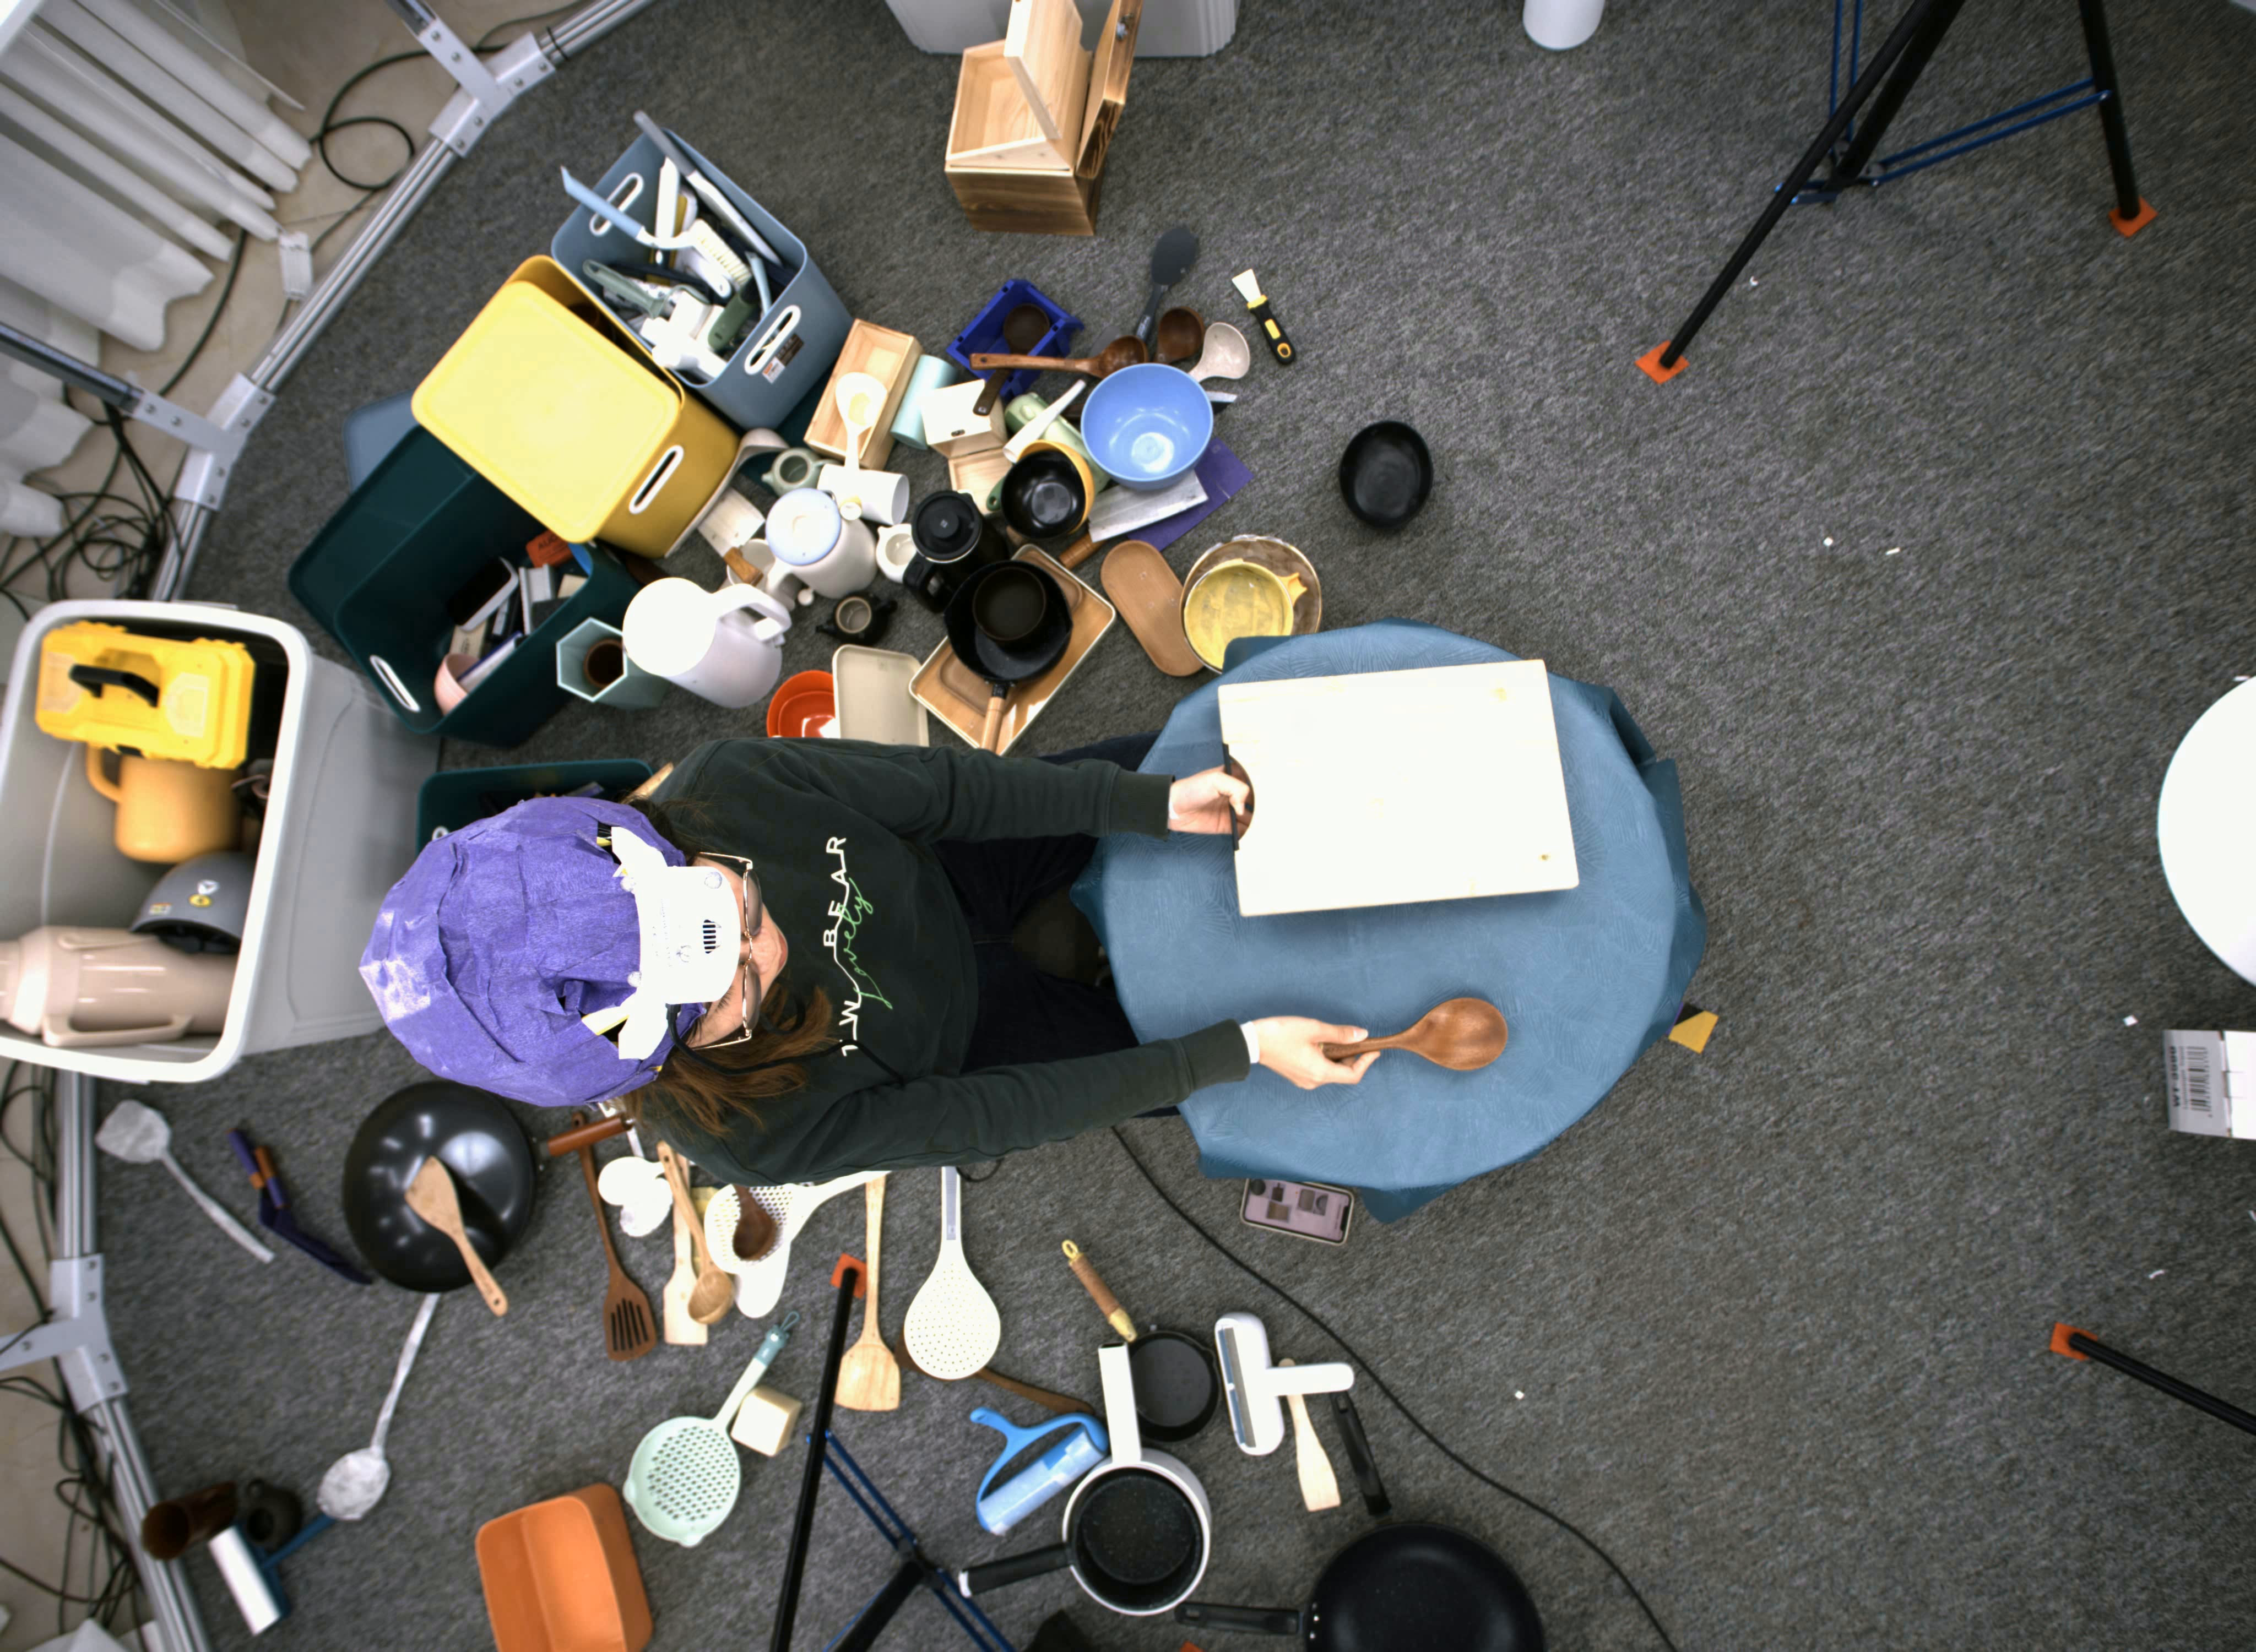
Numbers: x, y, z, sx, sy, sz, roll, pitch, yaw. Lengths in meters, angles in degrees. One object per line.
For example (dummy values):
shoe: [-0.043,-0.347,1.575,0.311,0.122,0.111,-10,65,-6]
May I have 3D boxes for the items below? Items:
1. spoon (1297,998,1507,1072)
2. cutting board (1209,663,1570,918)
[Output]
spoon: [0.280,0.219,1.409,0.216,0.017,0.075,-7,90,-1]
cutting board: [0.266,-0.040,1.404,0.349,0.024,0.248,-6,78,1]
